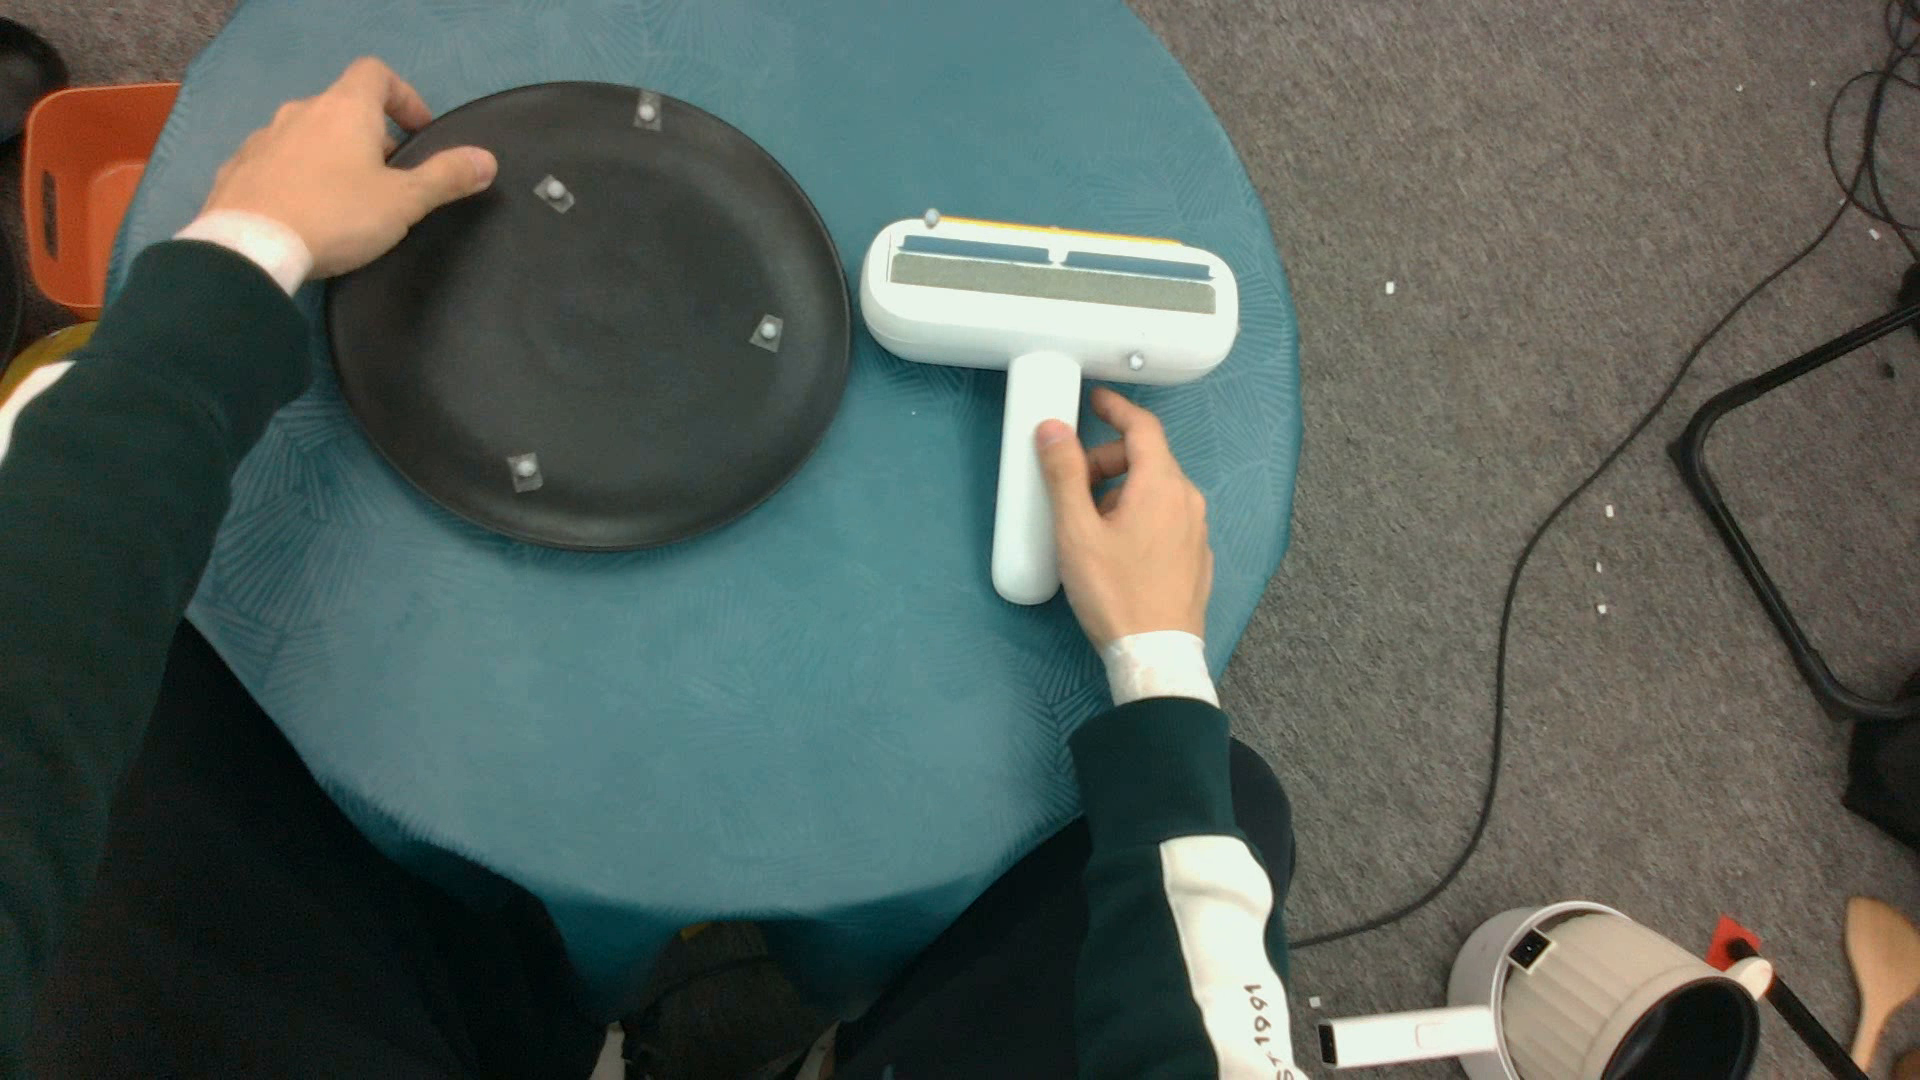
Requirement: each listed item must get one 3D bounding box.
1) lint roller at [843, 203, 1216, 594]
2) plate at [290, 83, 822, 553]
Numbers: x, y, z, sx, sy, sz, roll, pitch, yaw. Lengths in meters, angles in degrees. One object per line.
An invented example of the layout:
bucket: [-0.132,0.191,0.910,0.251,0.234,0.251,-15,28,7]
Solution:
lint roller: [0.025,-0.067,0.714,0.193,0.074,0.192,10,86,-7]
plate: [-0.189,-0.109,0.666,0.245,0.023,0.245,5,73,-16]
